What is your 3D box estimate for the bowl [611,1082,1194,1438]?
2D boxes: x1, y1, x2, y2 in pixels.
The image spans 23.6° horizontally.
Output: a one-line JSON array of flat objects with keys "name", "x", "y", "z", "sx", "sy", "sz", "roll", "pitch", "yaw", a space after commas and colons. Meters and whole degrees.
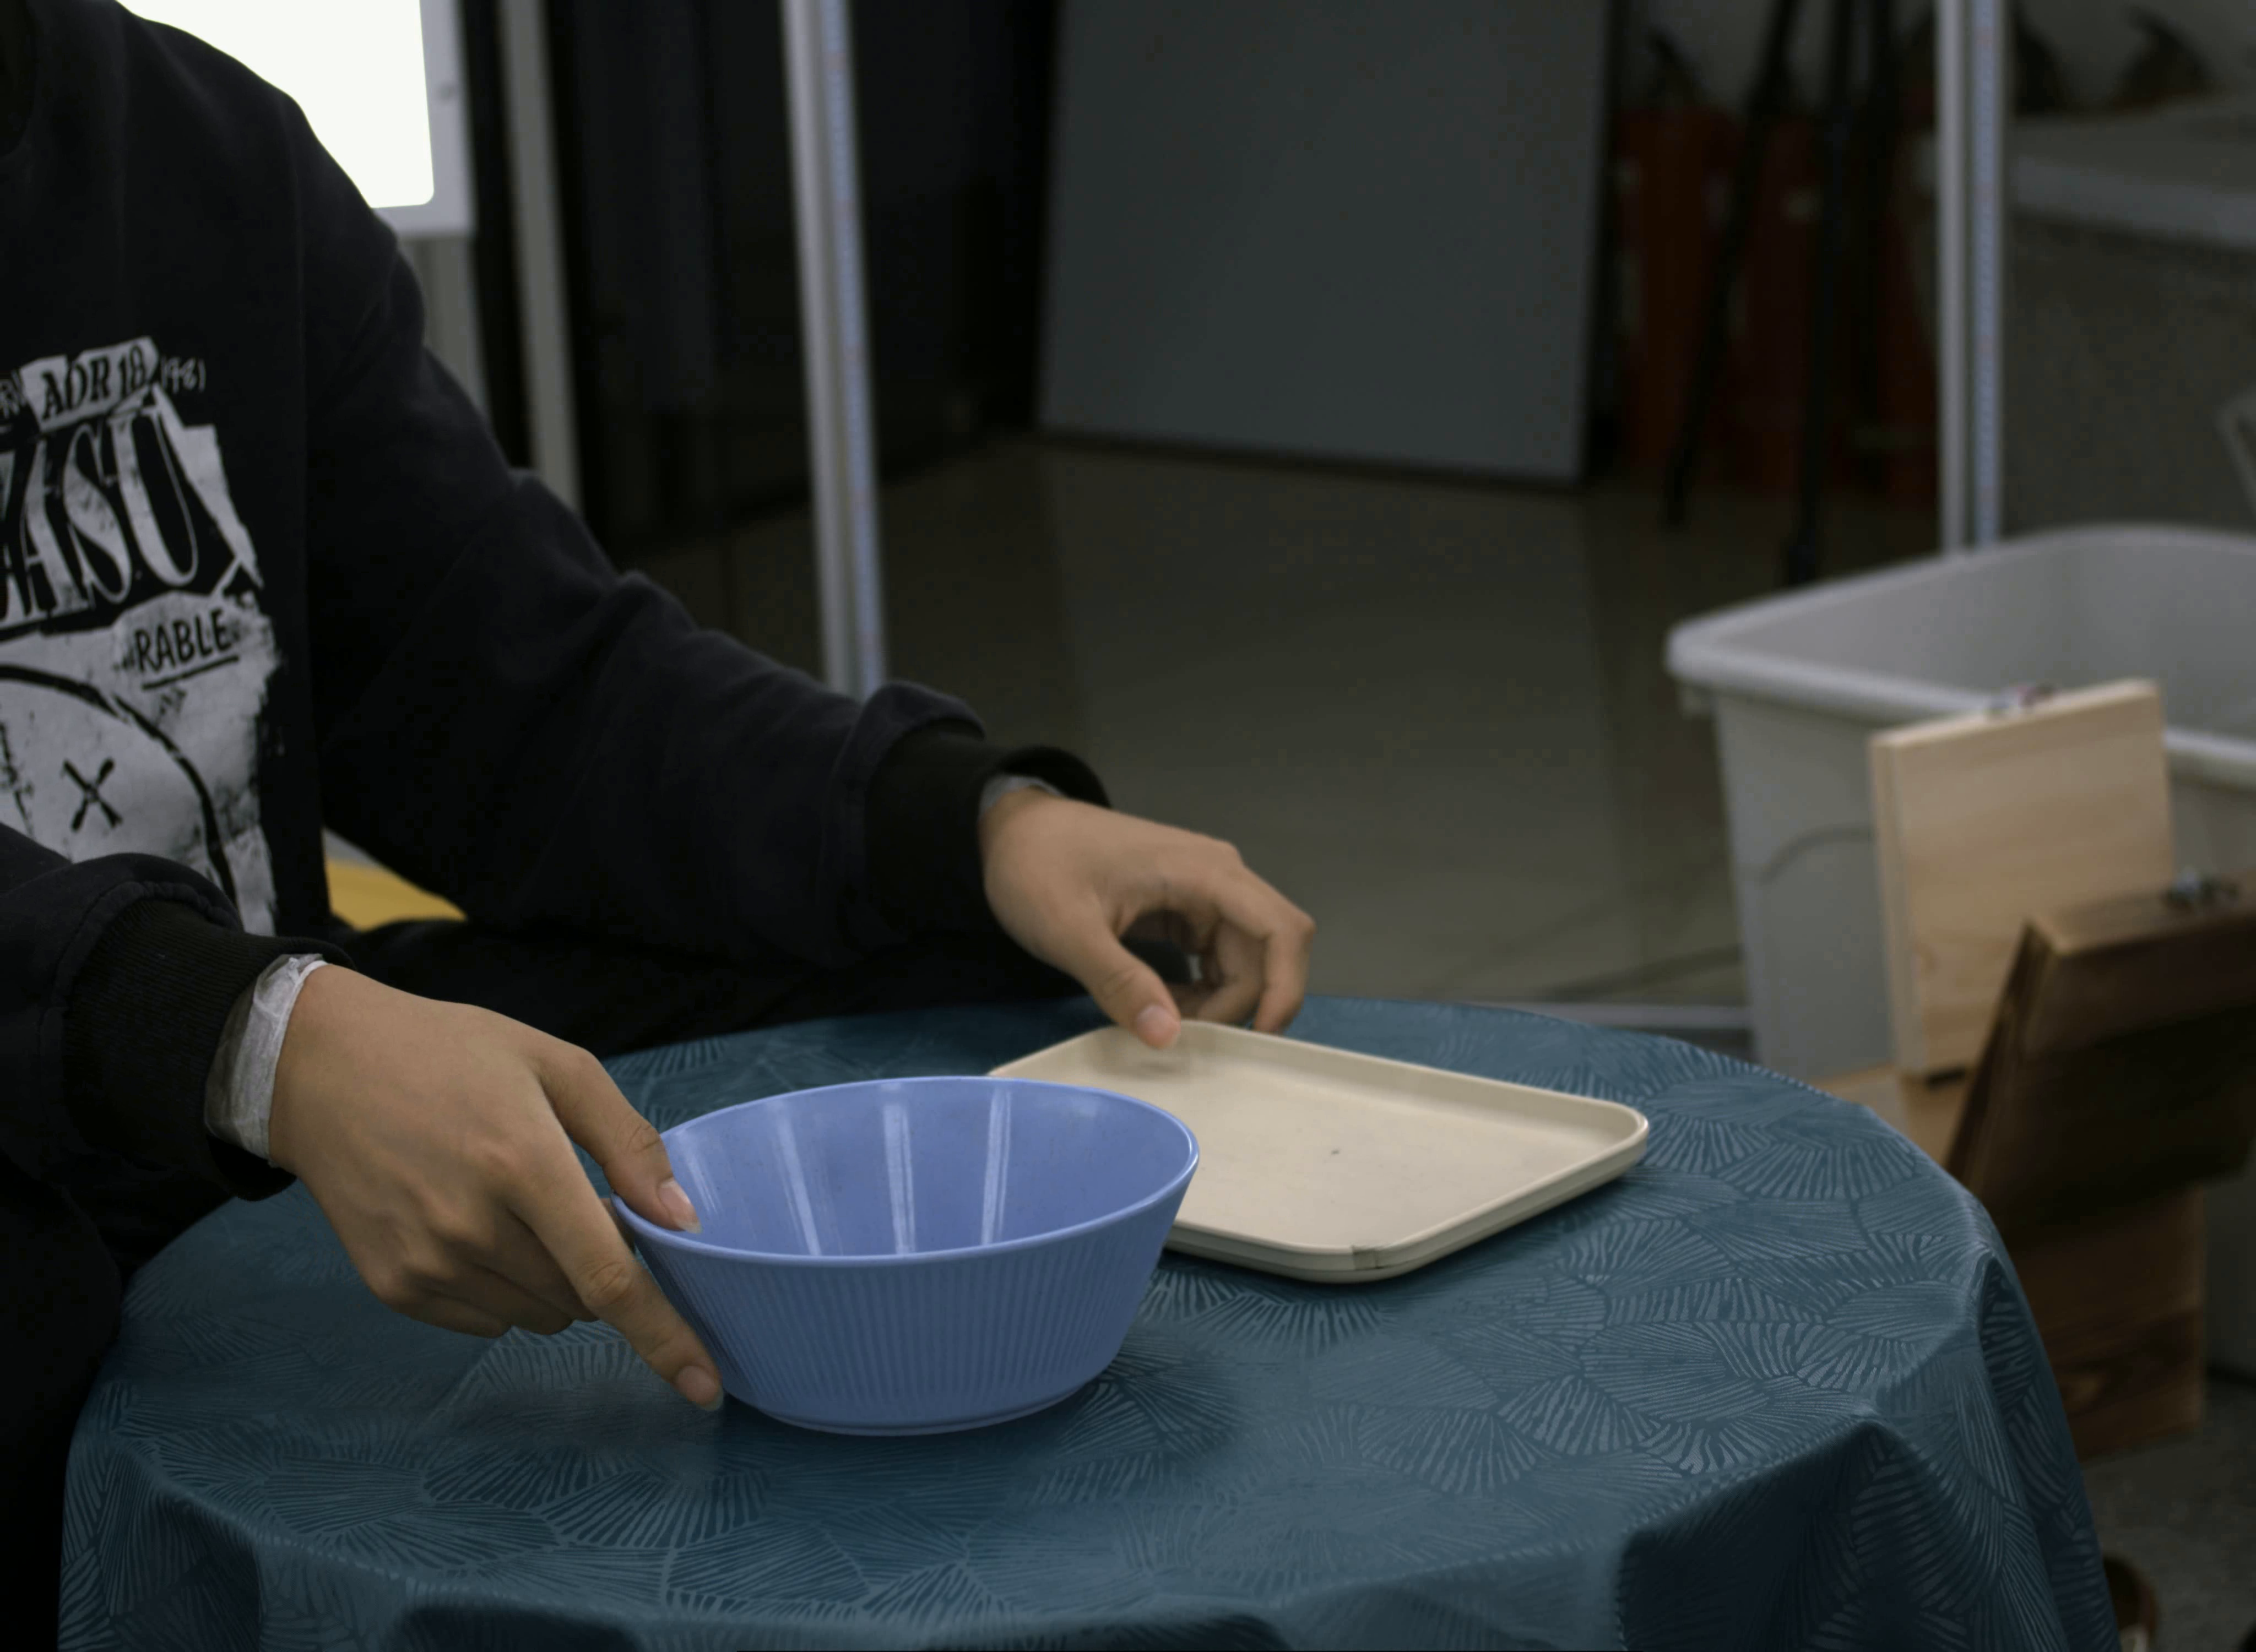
[{"name": "bowl", "x": -0.065, "y": 0.131, "z": 1.602, "sx": 0.174, "sy": 0.071, "sz": 0.176, "roll": -4, "pitch": 13, "yaw": 0}]

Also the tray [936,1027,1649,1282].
[{"name": "tray", "x": 0.040, "y": 0.107, "z": 1.778, "sx": 0.242, "sy": 0.017, "sz": 0.168, "roll": 9, "pitch": 18, "yaw": 42}]
